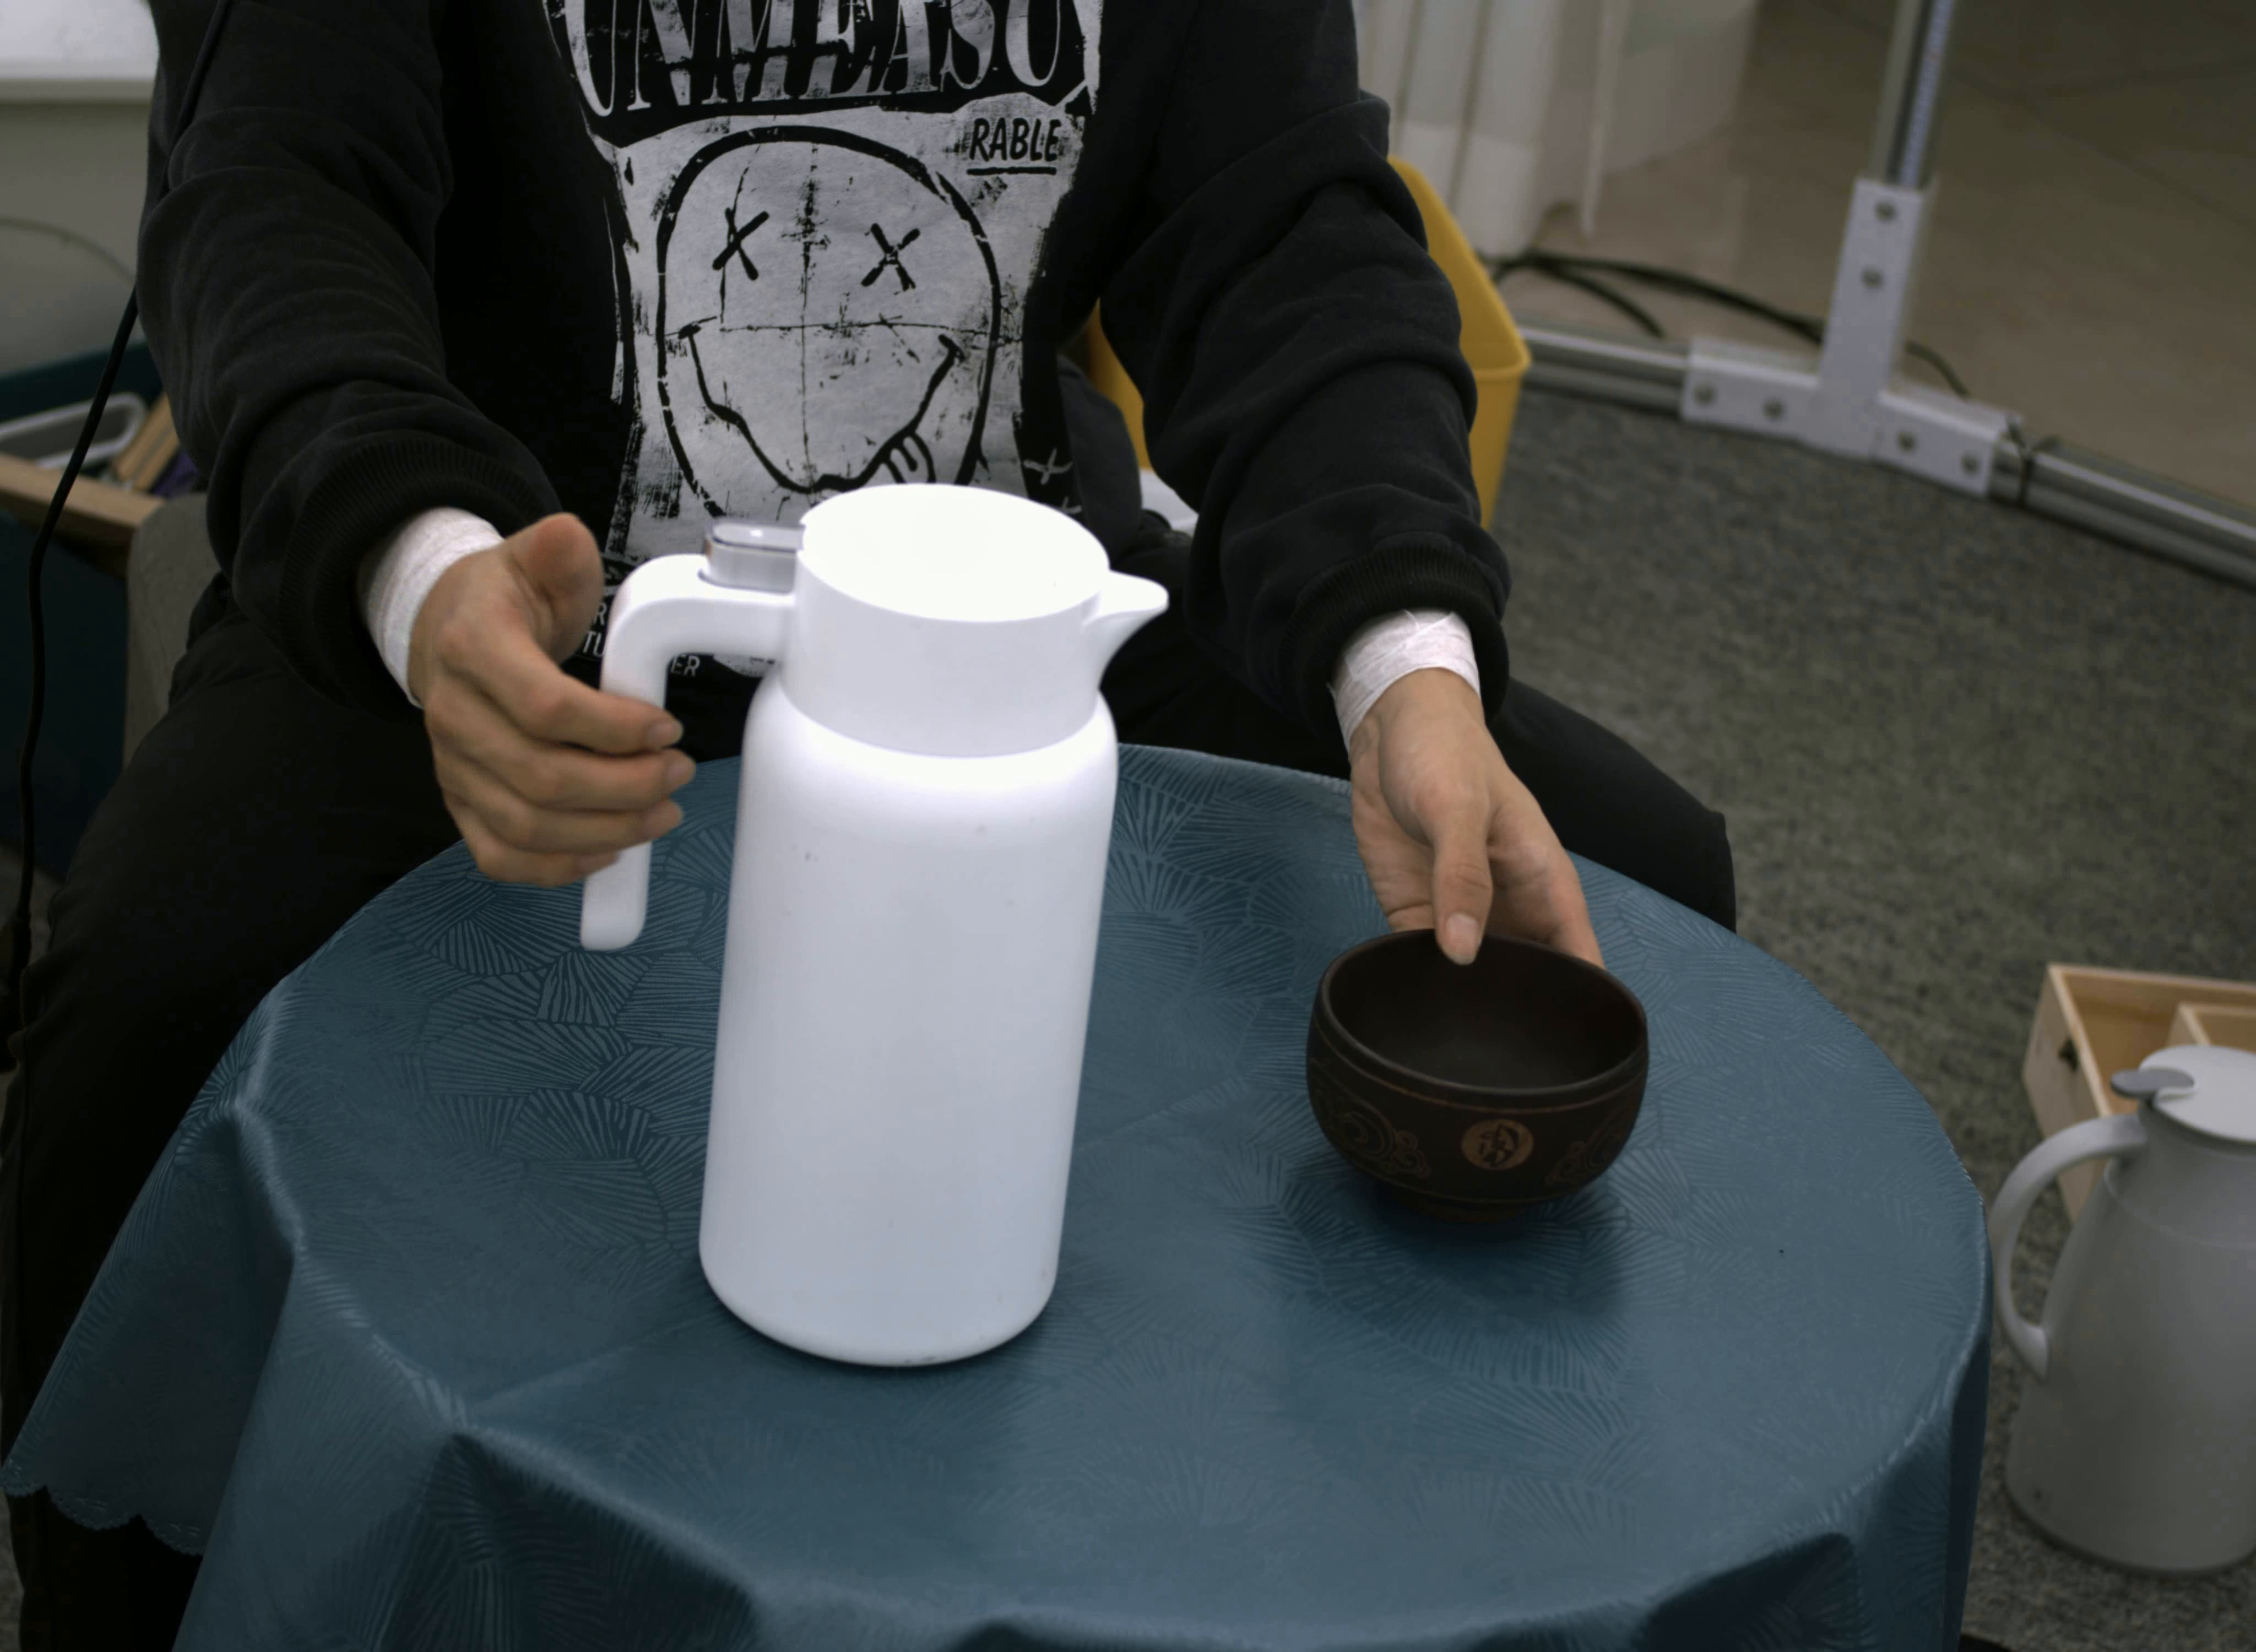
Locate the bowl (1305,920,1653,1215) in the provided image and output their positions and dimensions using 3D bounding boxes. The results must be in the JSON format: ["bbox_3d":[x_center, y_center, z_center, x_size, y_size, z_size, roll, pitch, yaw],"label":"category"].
[{"bbox_3d":[0.117,0.089,1.817,0.117,0.069,0.119,4,27,-3],"label":"bowl"}]

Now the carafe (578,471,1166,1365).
[{"bbox_3d":[-0.086,0.030,1.677,0.172,0.268,0.124,4,28,-4],"label":"carafe"}]
